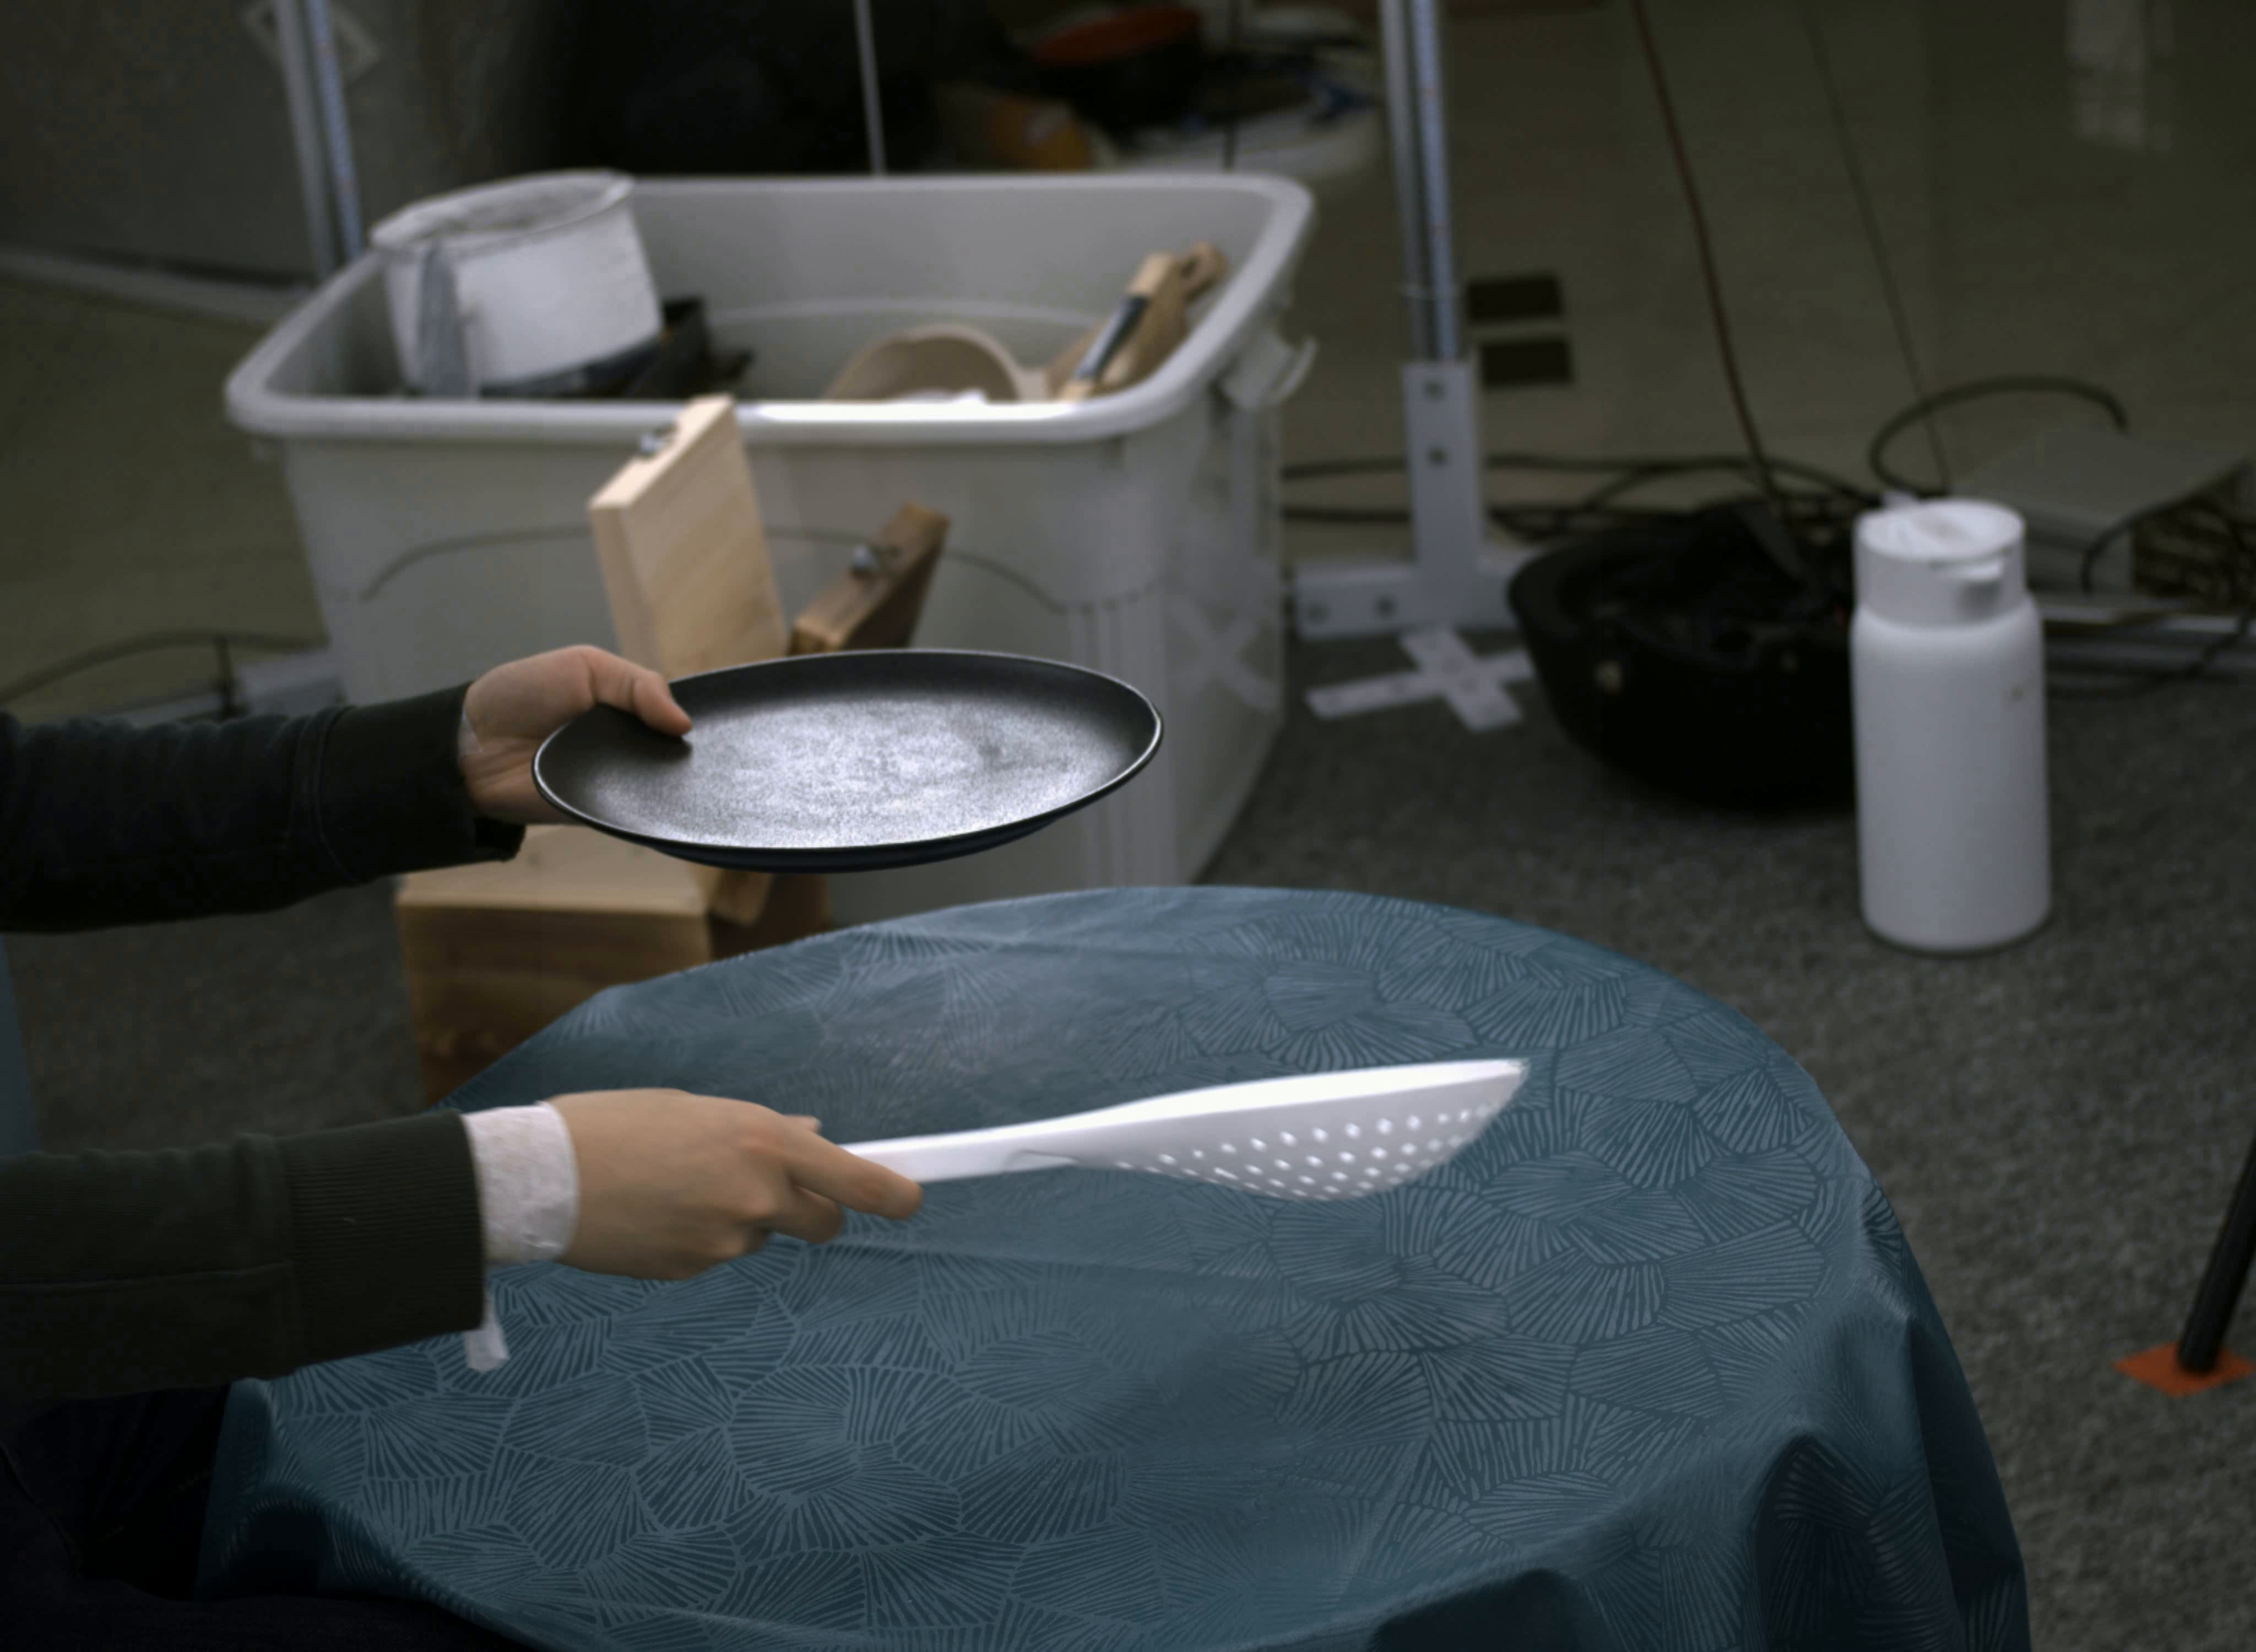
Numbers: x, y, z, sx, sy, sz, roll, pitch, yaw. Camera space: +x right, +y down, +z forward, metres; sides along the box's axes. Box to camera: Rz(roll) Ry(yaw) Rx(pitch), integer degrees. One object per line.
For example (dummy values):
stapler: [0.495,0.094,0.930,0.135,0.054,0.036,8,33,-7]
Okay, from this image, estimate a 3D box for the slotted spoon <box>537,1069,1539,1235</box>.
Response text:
slotted spoon: [-0.028,0.111,1.942,0.349,0.046,0.136,-1,-2,-14]

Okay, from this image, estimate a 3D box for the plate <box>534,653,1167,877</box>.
plate: [-0.106,-0.021,2.171,0.244,0.024,0.241,-3,19,1]
